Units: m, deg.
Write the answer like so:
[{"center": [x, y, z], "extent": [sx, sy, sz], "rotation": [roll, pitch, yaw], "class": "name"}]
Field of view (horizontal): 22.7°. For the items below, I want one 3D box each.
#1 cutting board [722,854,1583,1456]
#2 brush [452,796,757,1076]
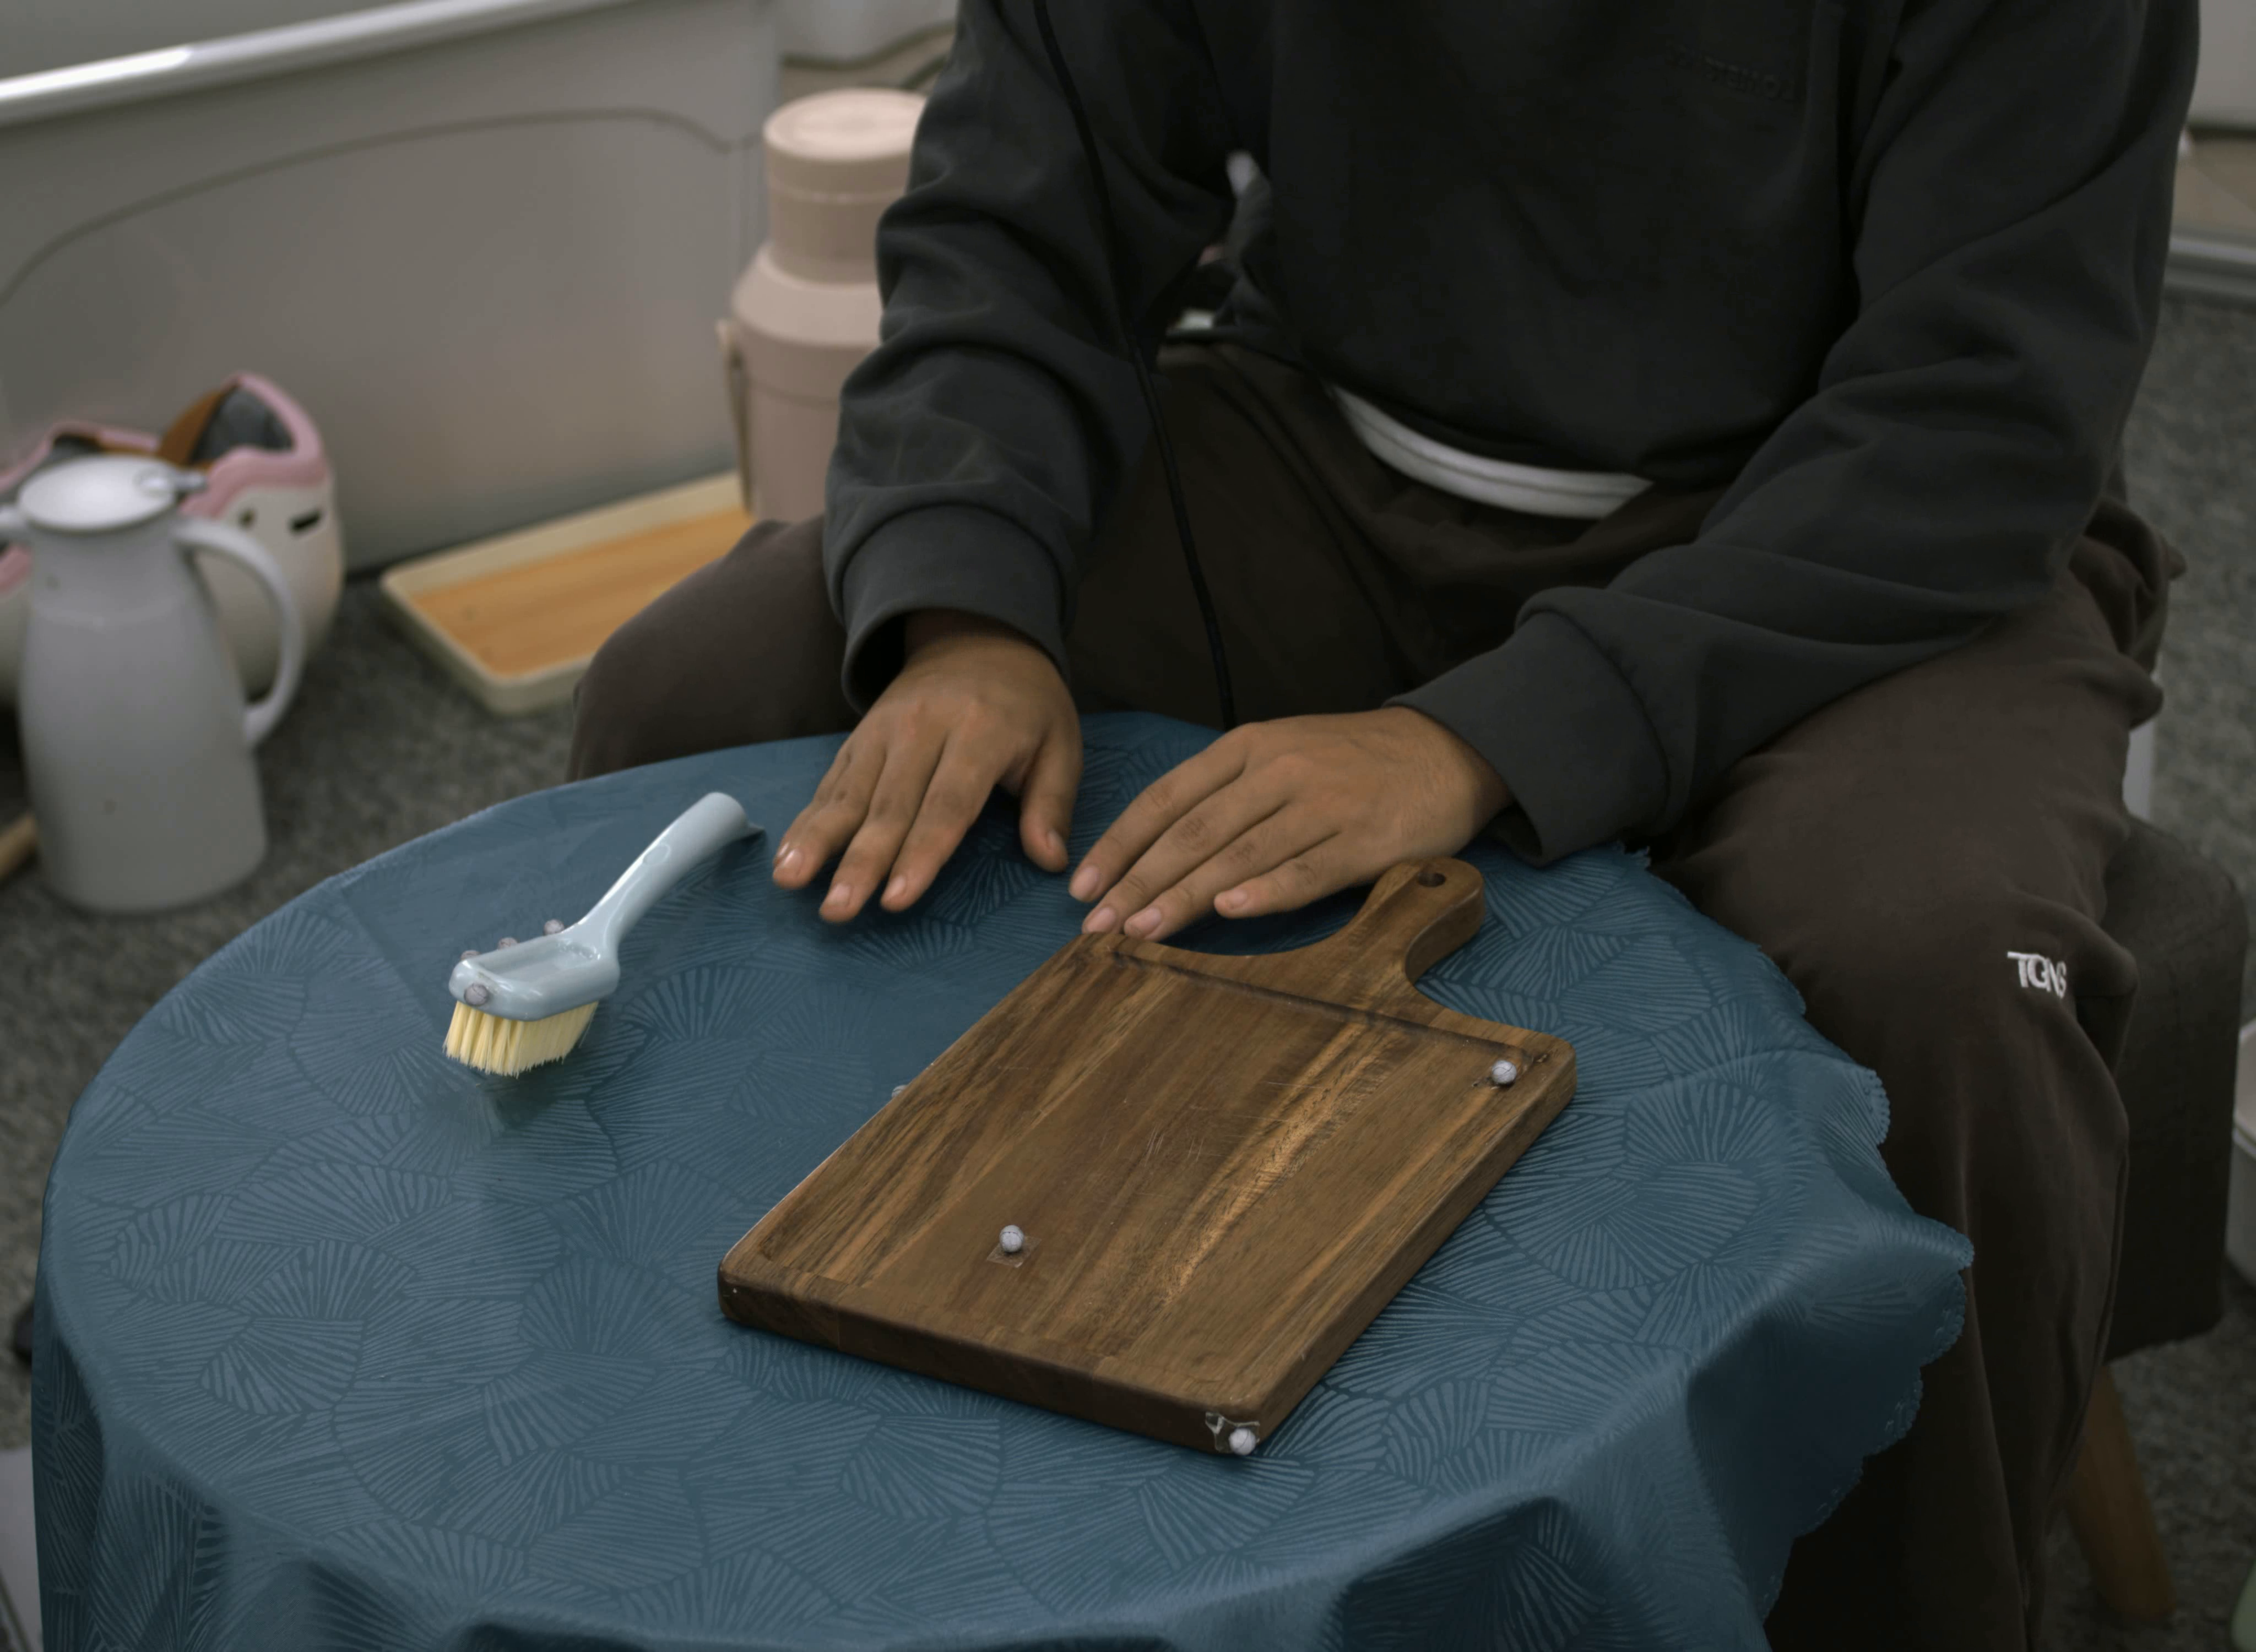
[{"center": [0.036, 0.094, 1.892], "extent": [0.200, 0.023, 0.358], "rotation": [12, 31, 26], "class": "cutting board"}, {"center": [-0.185, 0.039, 2.007], "extent": [0.037, 0.049, 0.232], "rotation": [17, 24, 12], "class": "brush"}]
